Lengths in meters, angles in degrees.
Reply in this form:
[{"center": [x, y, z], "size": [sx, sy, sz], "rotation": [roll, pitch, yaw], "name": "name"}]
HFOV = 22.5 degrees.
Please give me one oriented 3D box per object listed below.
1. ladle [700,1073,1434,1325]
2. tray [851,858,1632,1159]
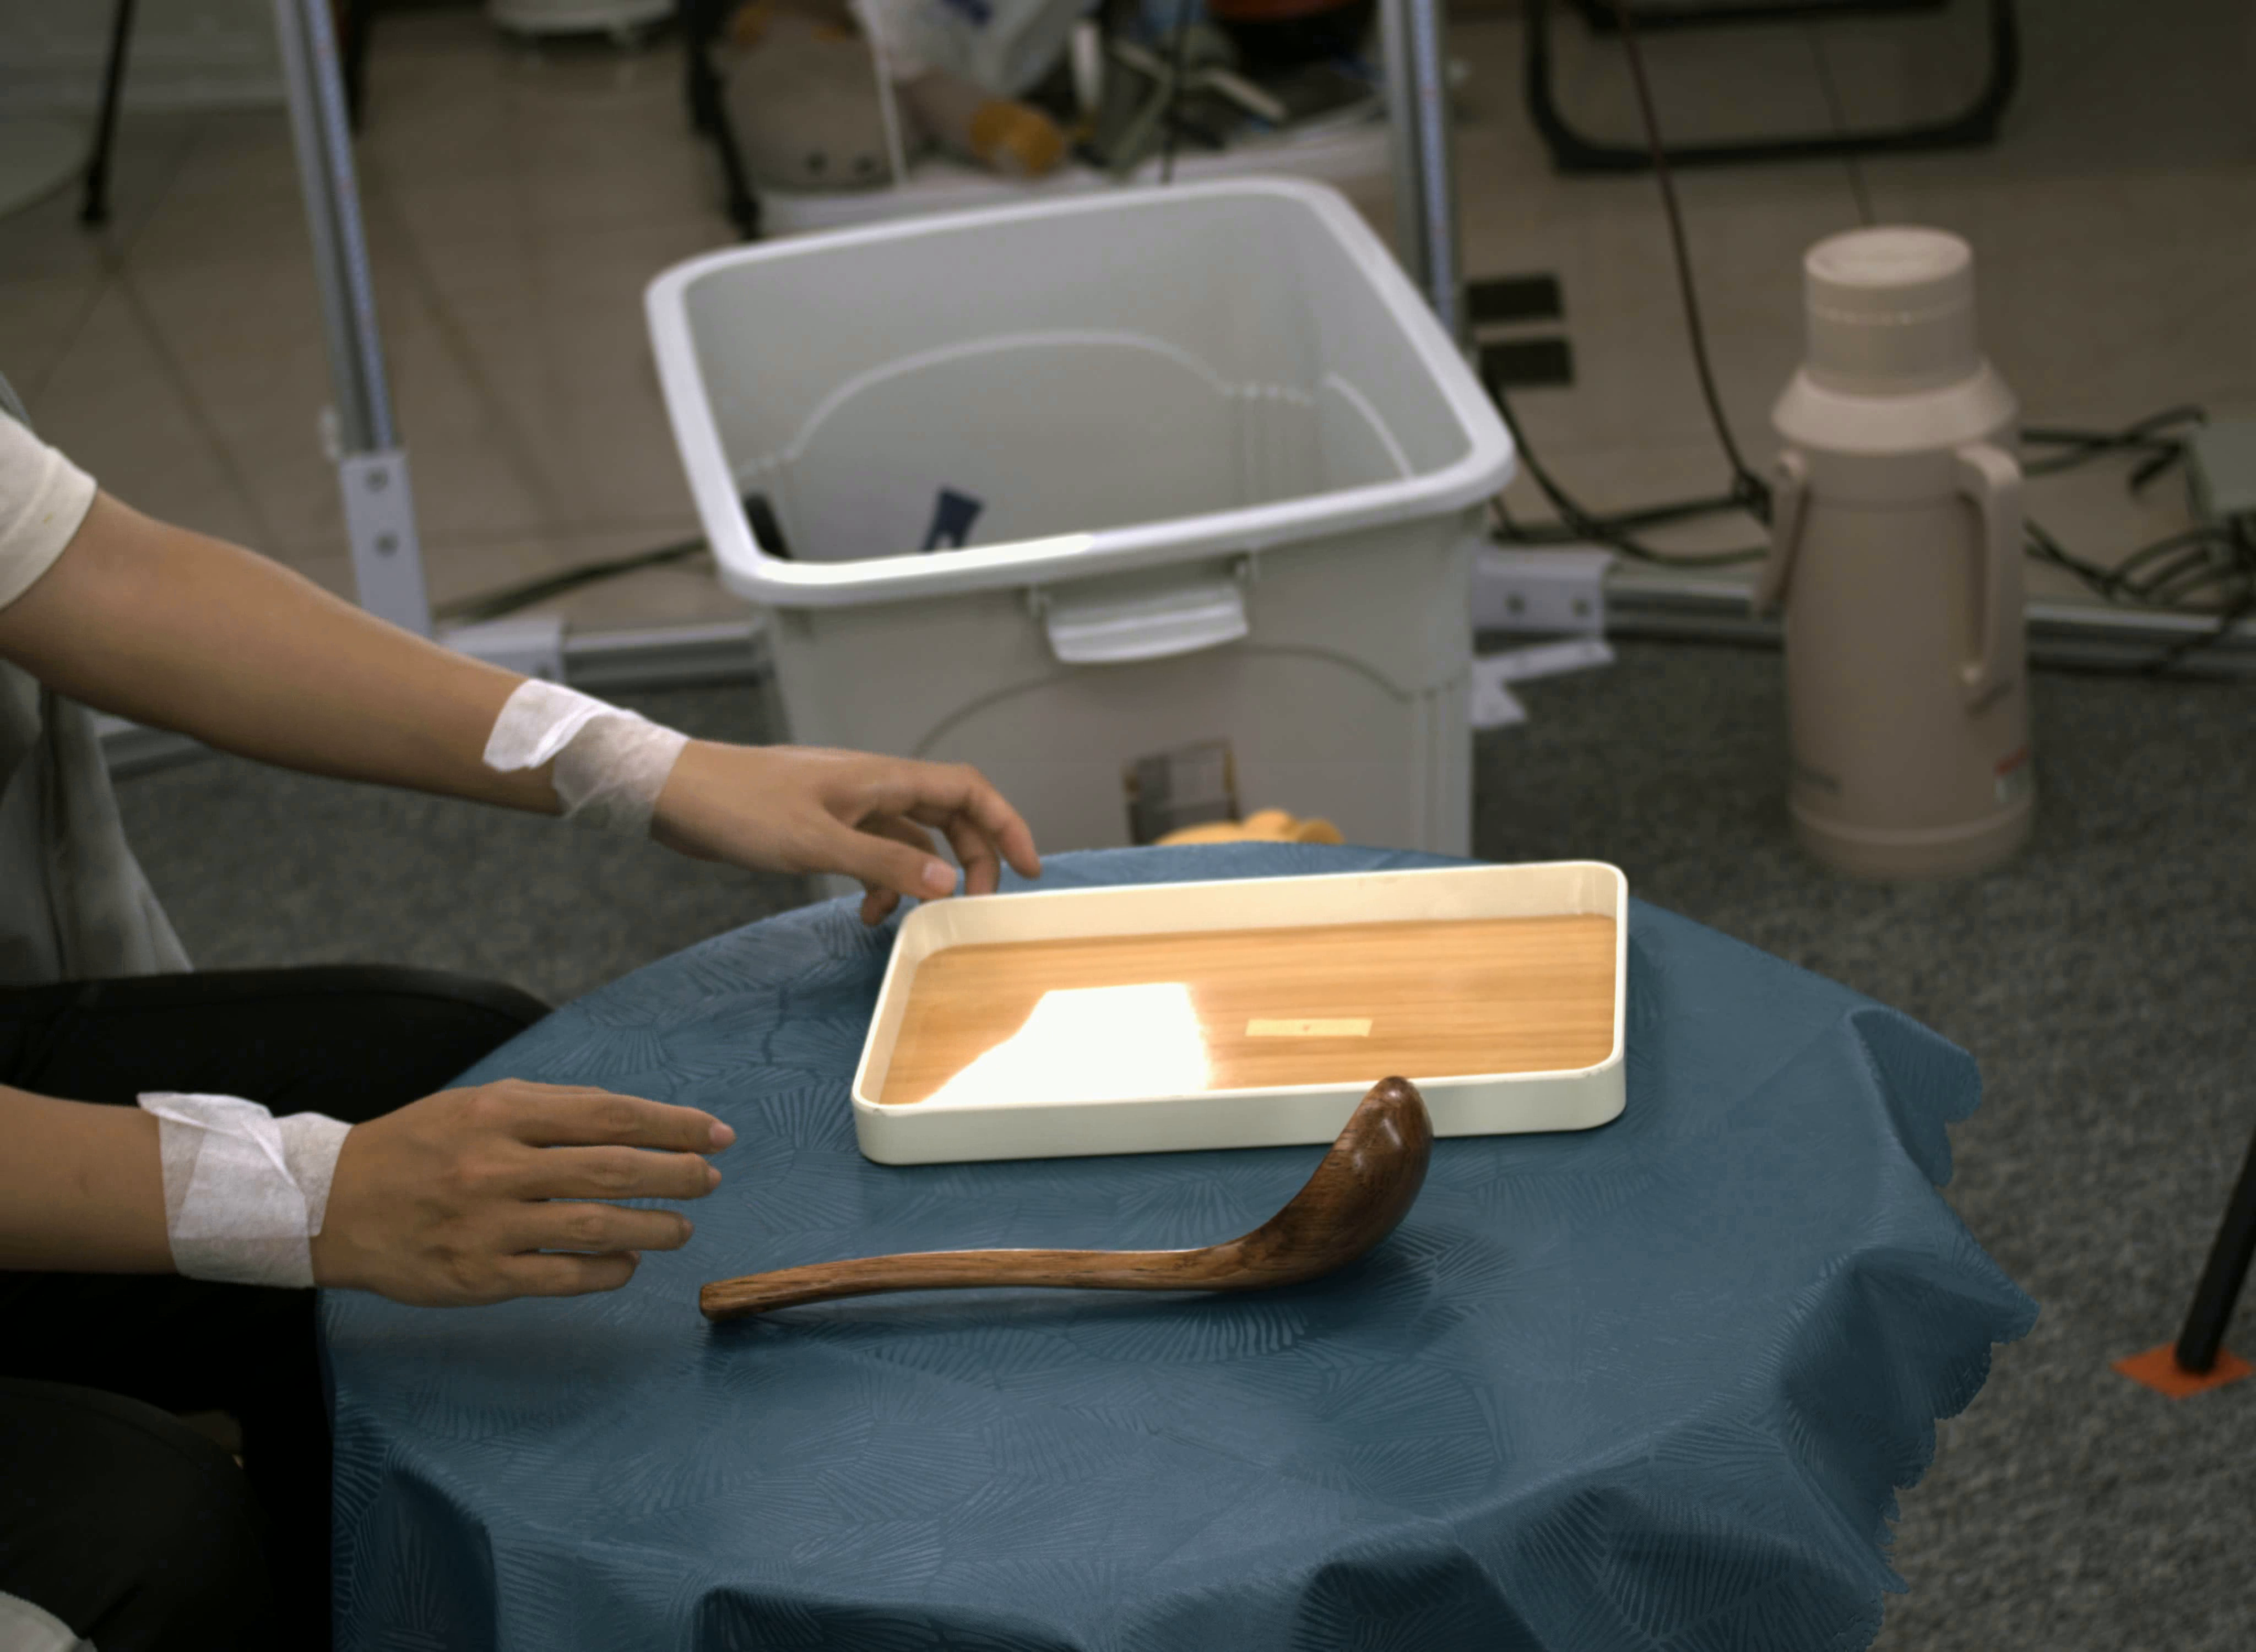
[{"center": [-0.024, 0.136, 2.079], "size": [0.273, 0.076, 0.082], "rotation": [-4, -13, 8], "name": "ladle"}, {"center": [0.049, 0.072, 2.250], "size": [0.300, 0.028, 0.189], "rotation": [-3, 25, 8], "name": "tray"}]
